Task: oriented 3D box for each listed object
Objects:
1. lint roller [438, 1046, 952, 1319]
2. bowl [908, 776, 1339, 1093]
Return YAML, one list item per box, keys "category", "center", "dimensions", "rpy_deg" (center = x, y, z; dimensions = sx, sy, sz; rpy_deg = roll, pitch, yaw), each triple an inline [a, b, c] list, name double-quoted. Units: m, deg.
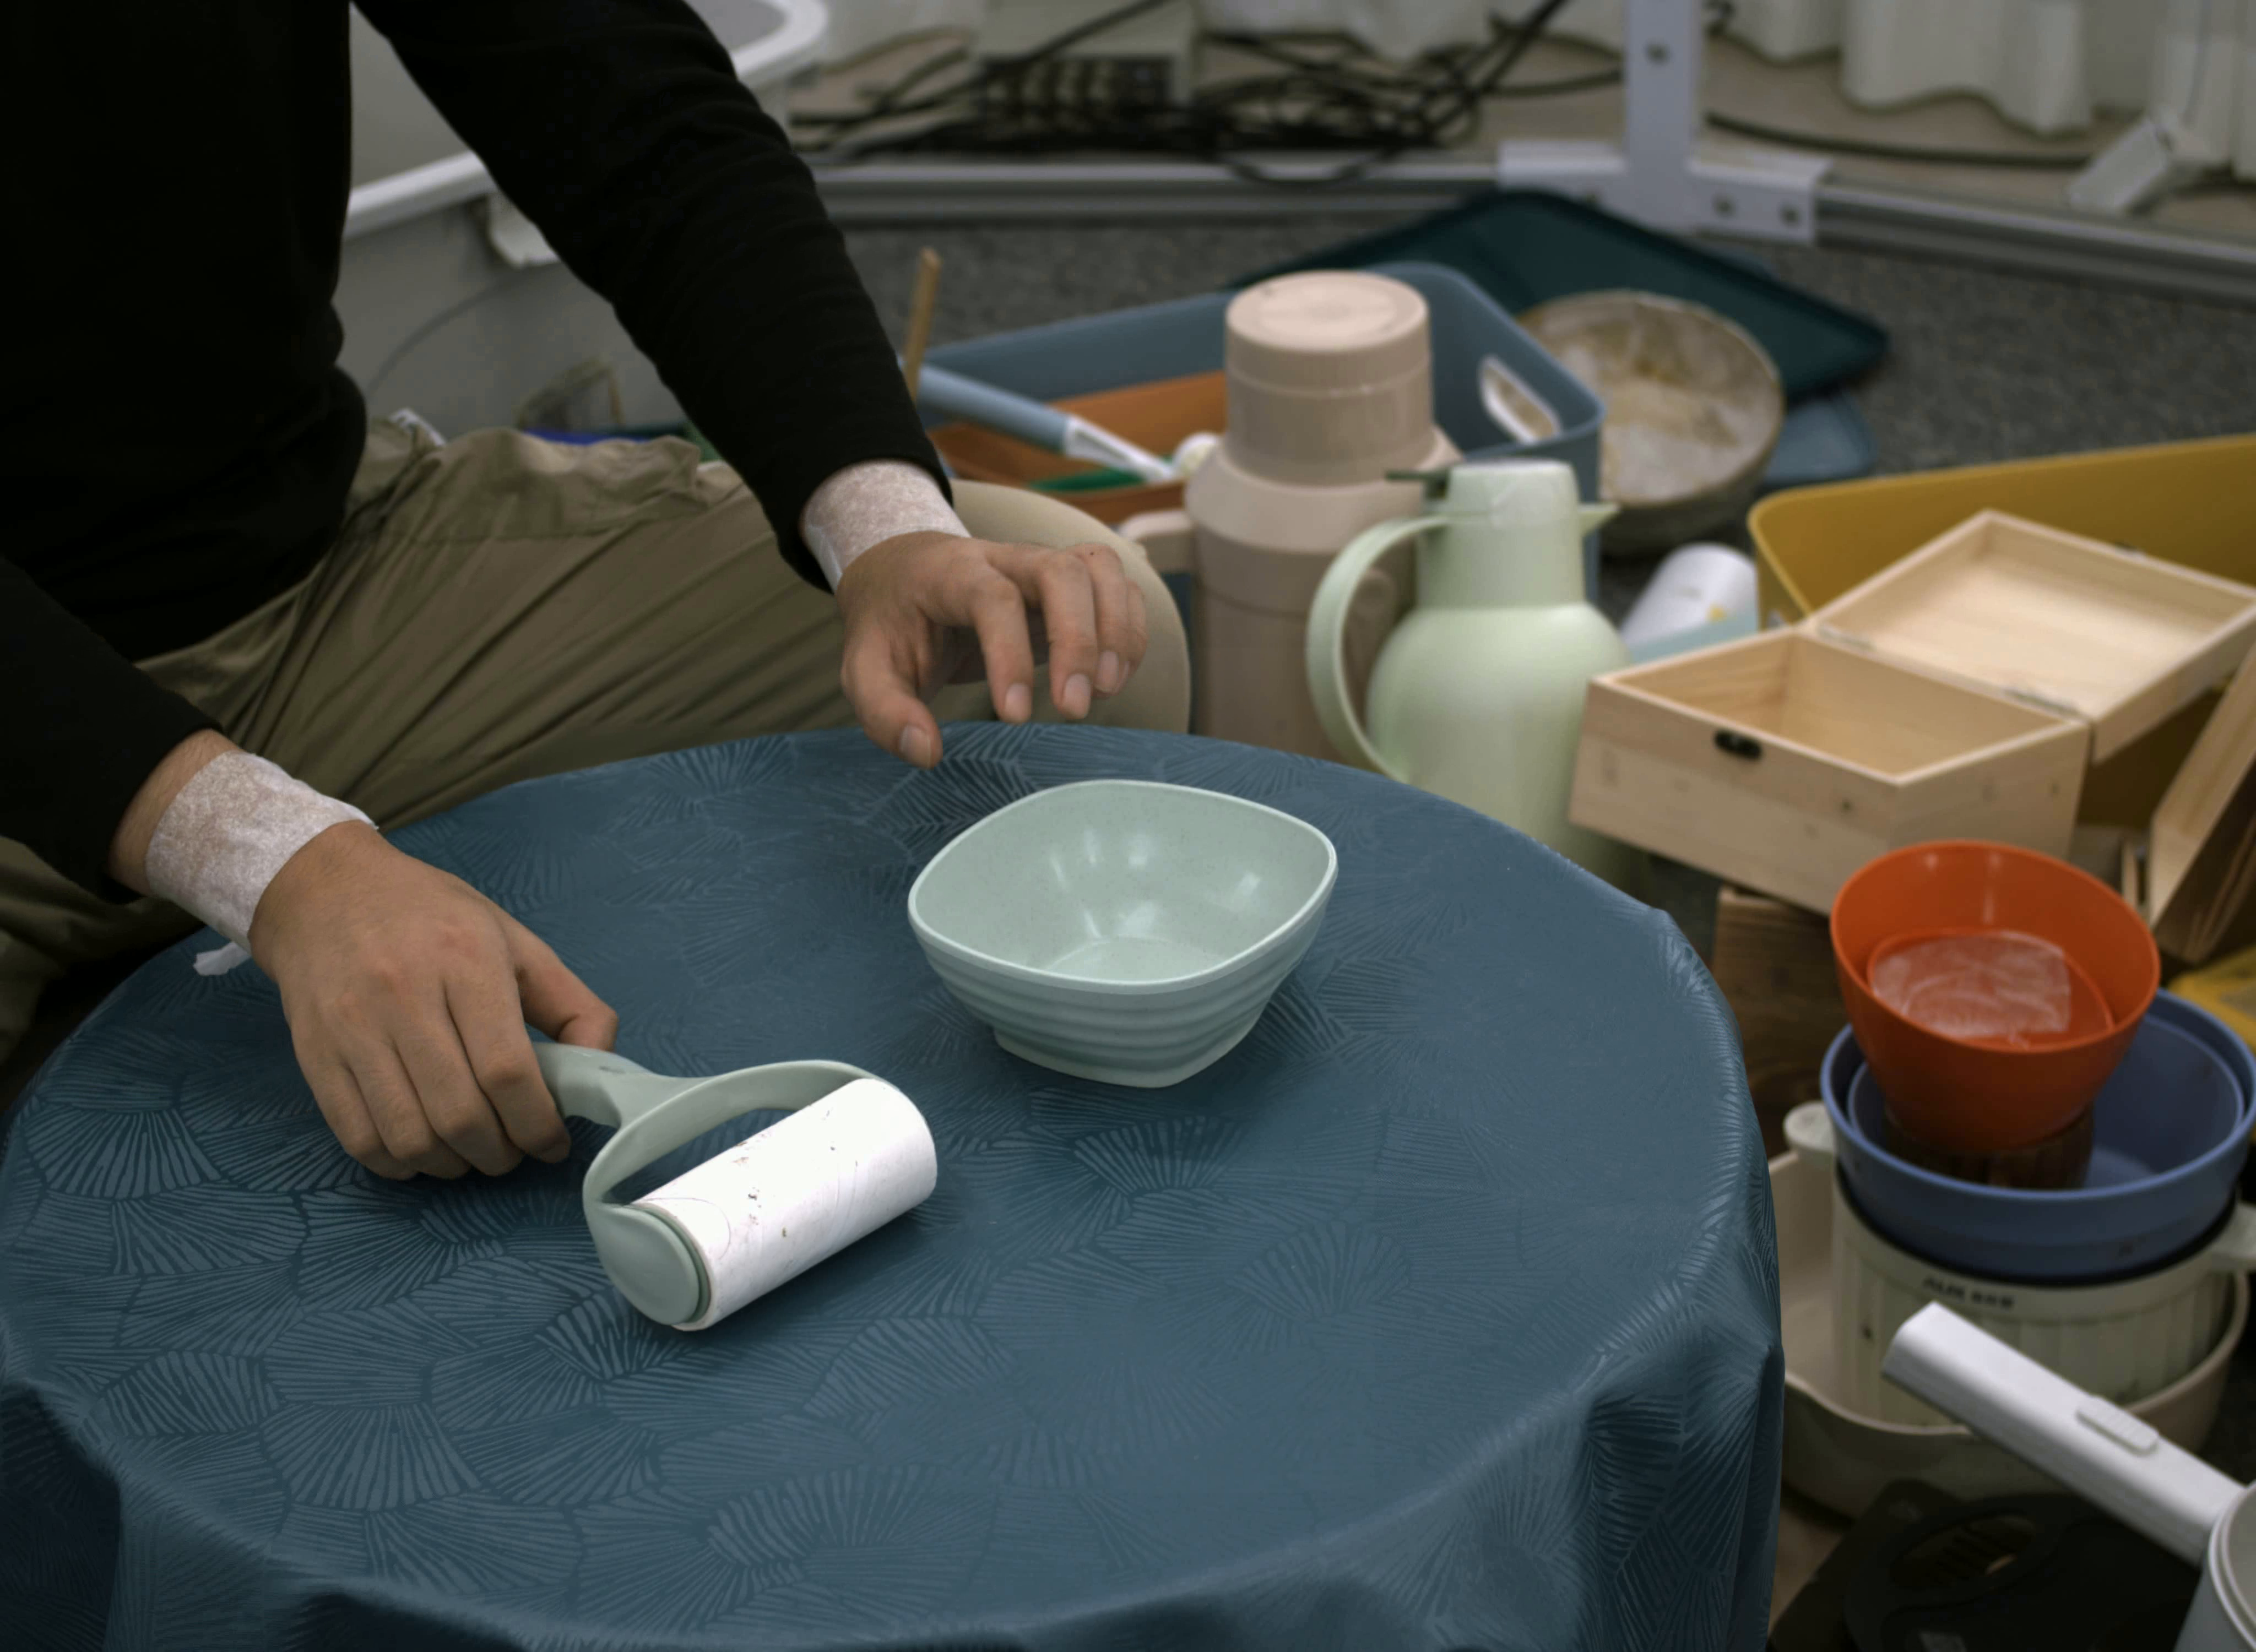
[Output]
- category: "lint roller"
  center: [-0.161, 0.100, 1.871]
  dimensions: [0.197, 0.048, 0.118]
  rpy_deg: [20, 36, 39]
- category: "bowl"
  center: [0.000, 0.043, 1.952]
  dimensions: [0.151, 0.058, 0.154]
  rpy_deg: [-2, 29, 1]
